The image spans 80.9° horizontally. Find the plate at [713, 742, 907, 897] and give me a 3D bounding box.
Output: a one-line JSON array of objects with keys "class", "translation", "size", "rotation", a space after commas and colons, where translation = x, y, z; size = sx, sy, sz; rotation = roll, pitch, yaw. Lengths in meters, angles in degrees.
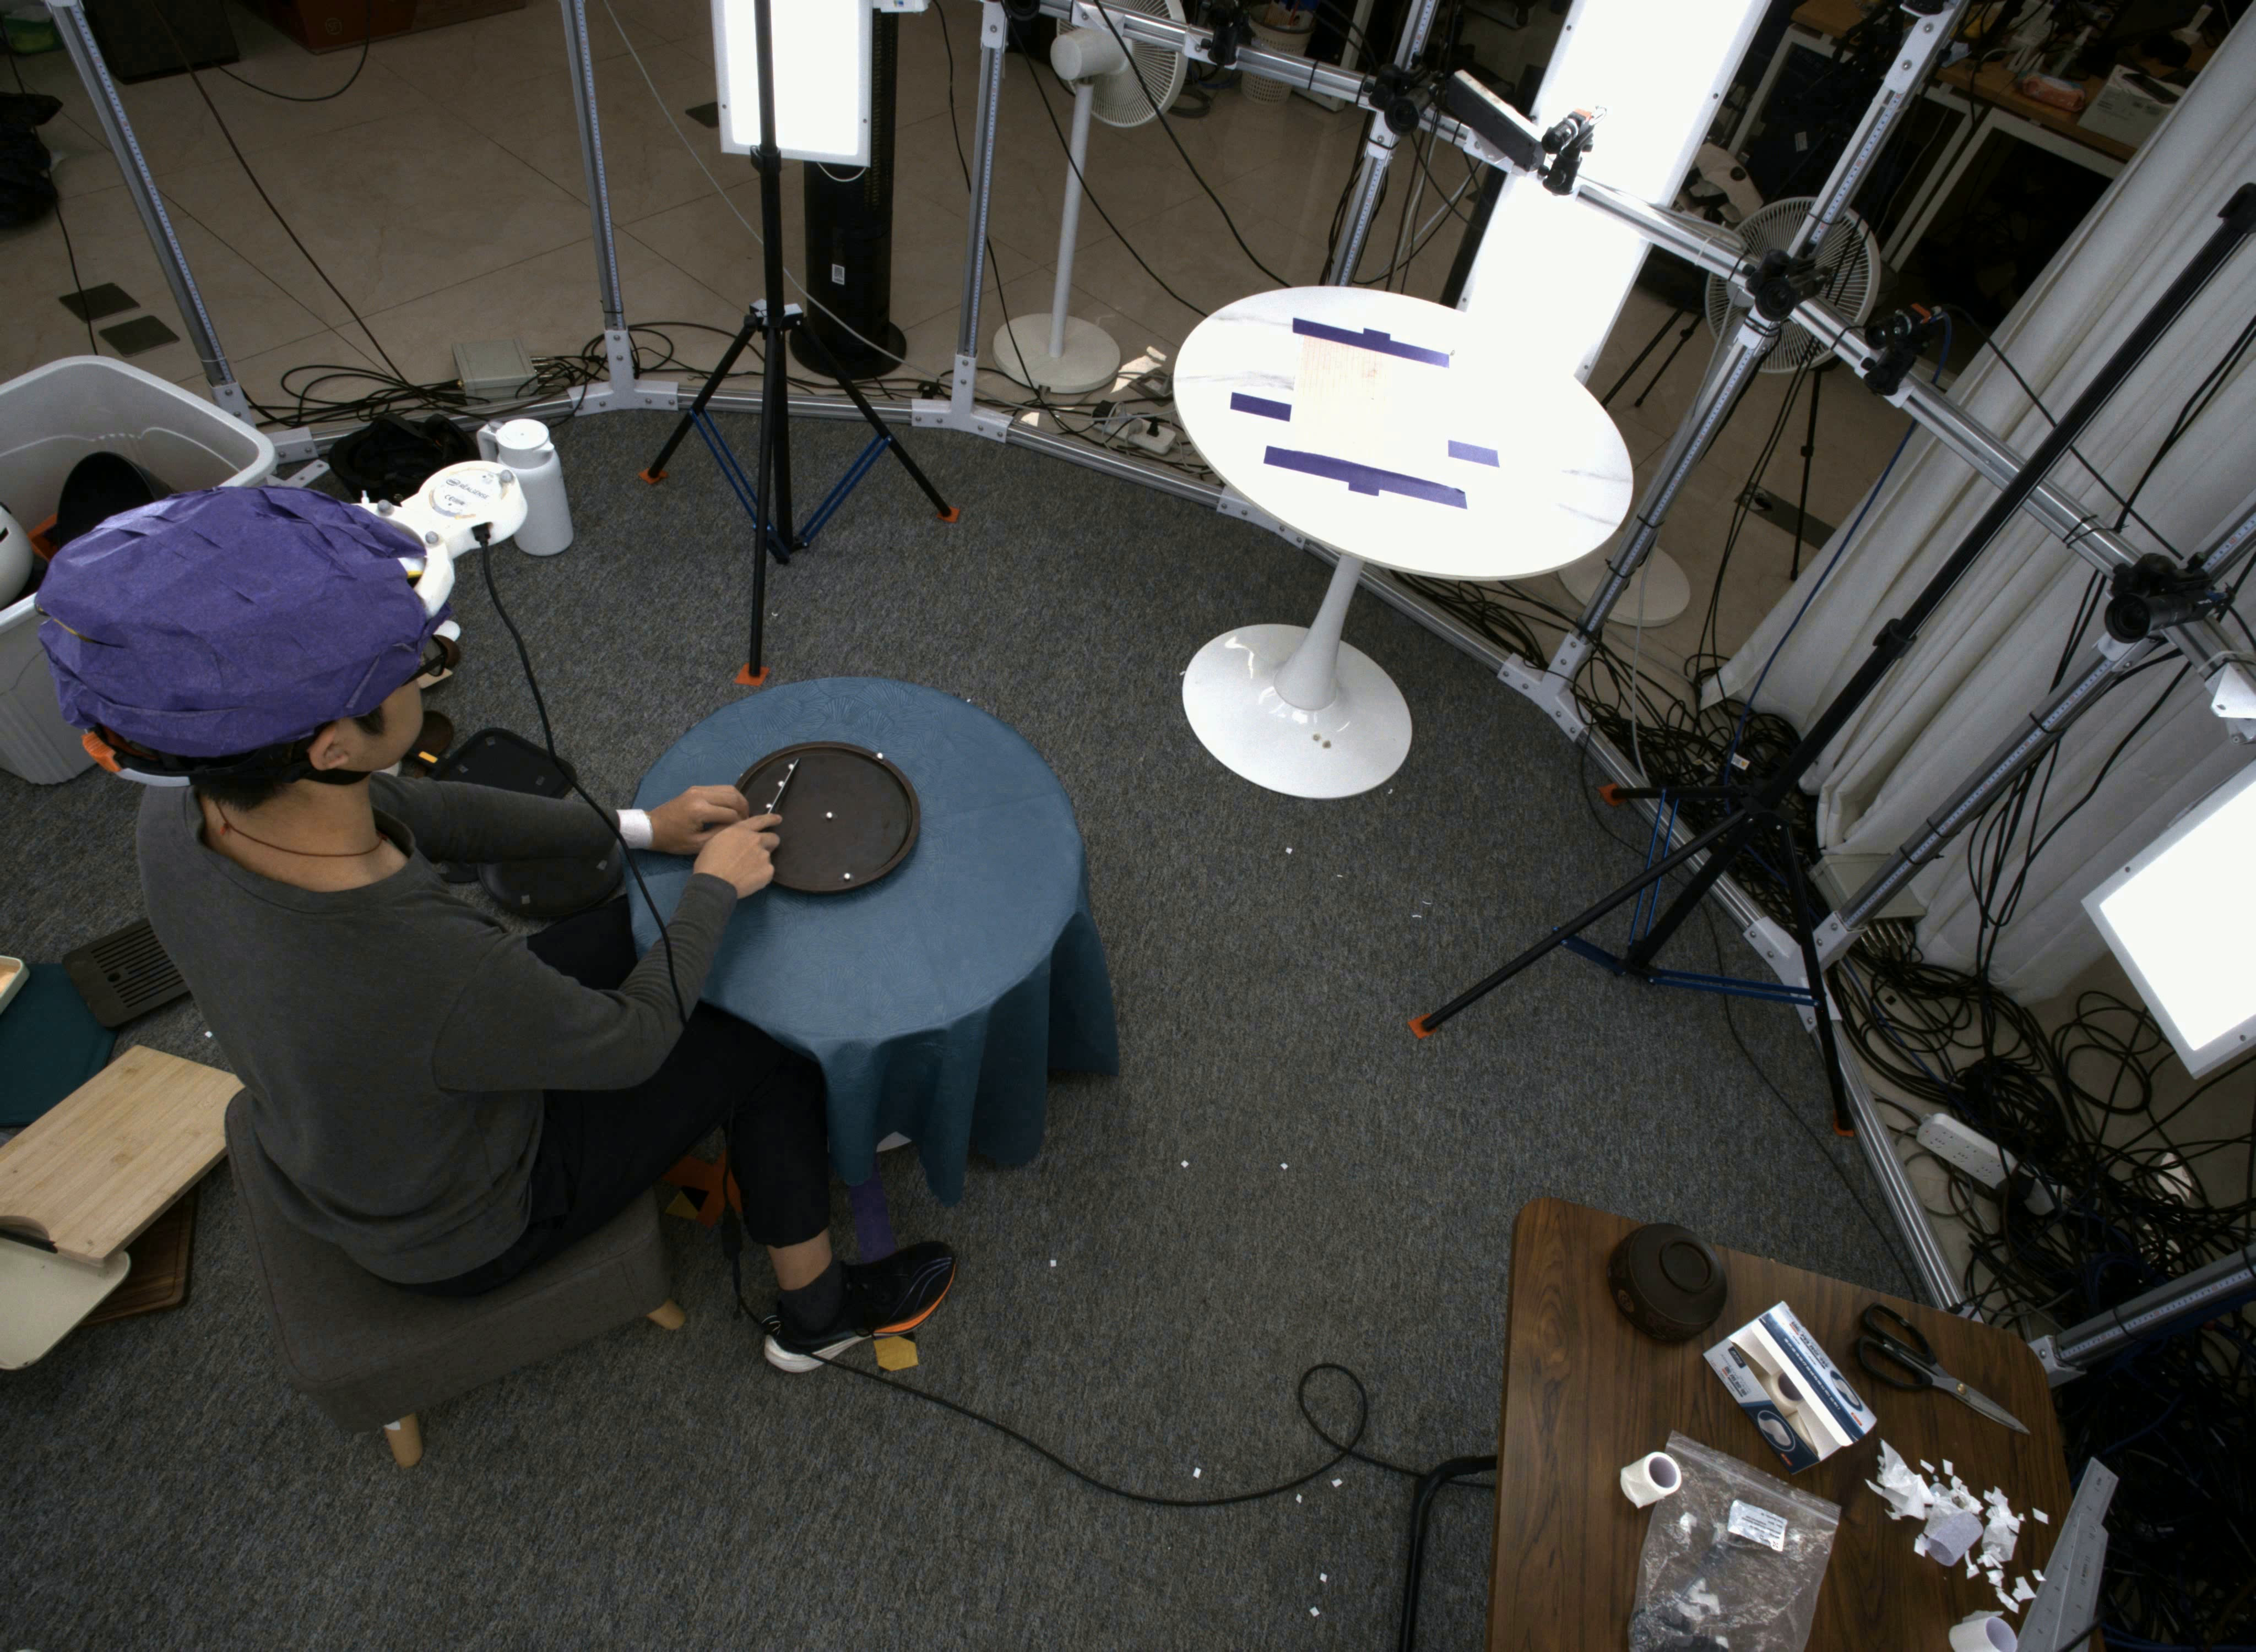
[{"class": "plate", "translation": [-0.422, -0.010, 1.729], "size": [0.254, 0.029, 0.250], "rotation": [8, 51, -9]}]

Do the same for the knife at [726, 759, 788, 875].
[{"class": "knife", "translation": [-0.480, -0.021, 1.686], "size": [0.016, 0.025, 0.234], "rotation": [9, 39, 0]}]
